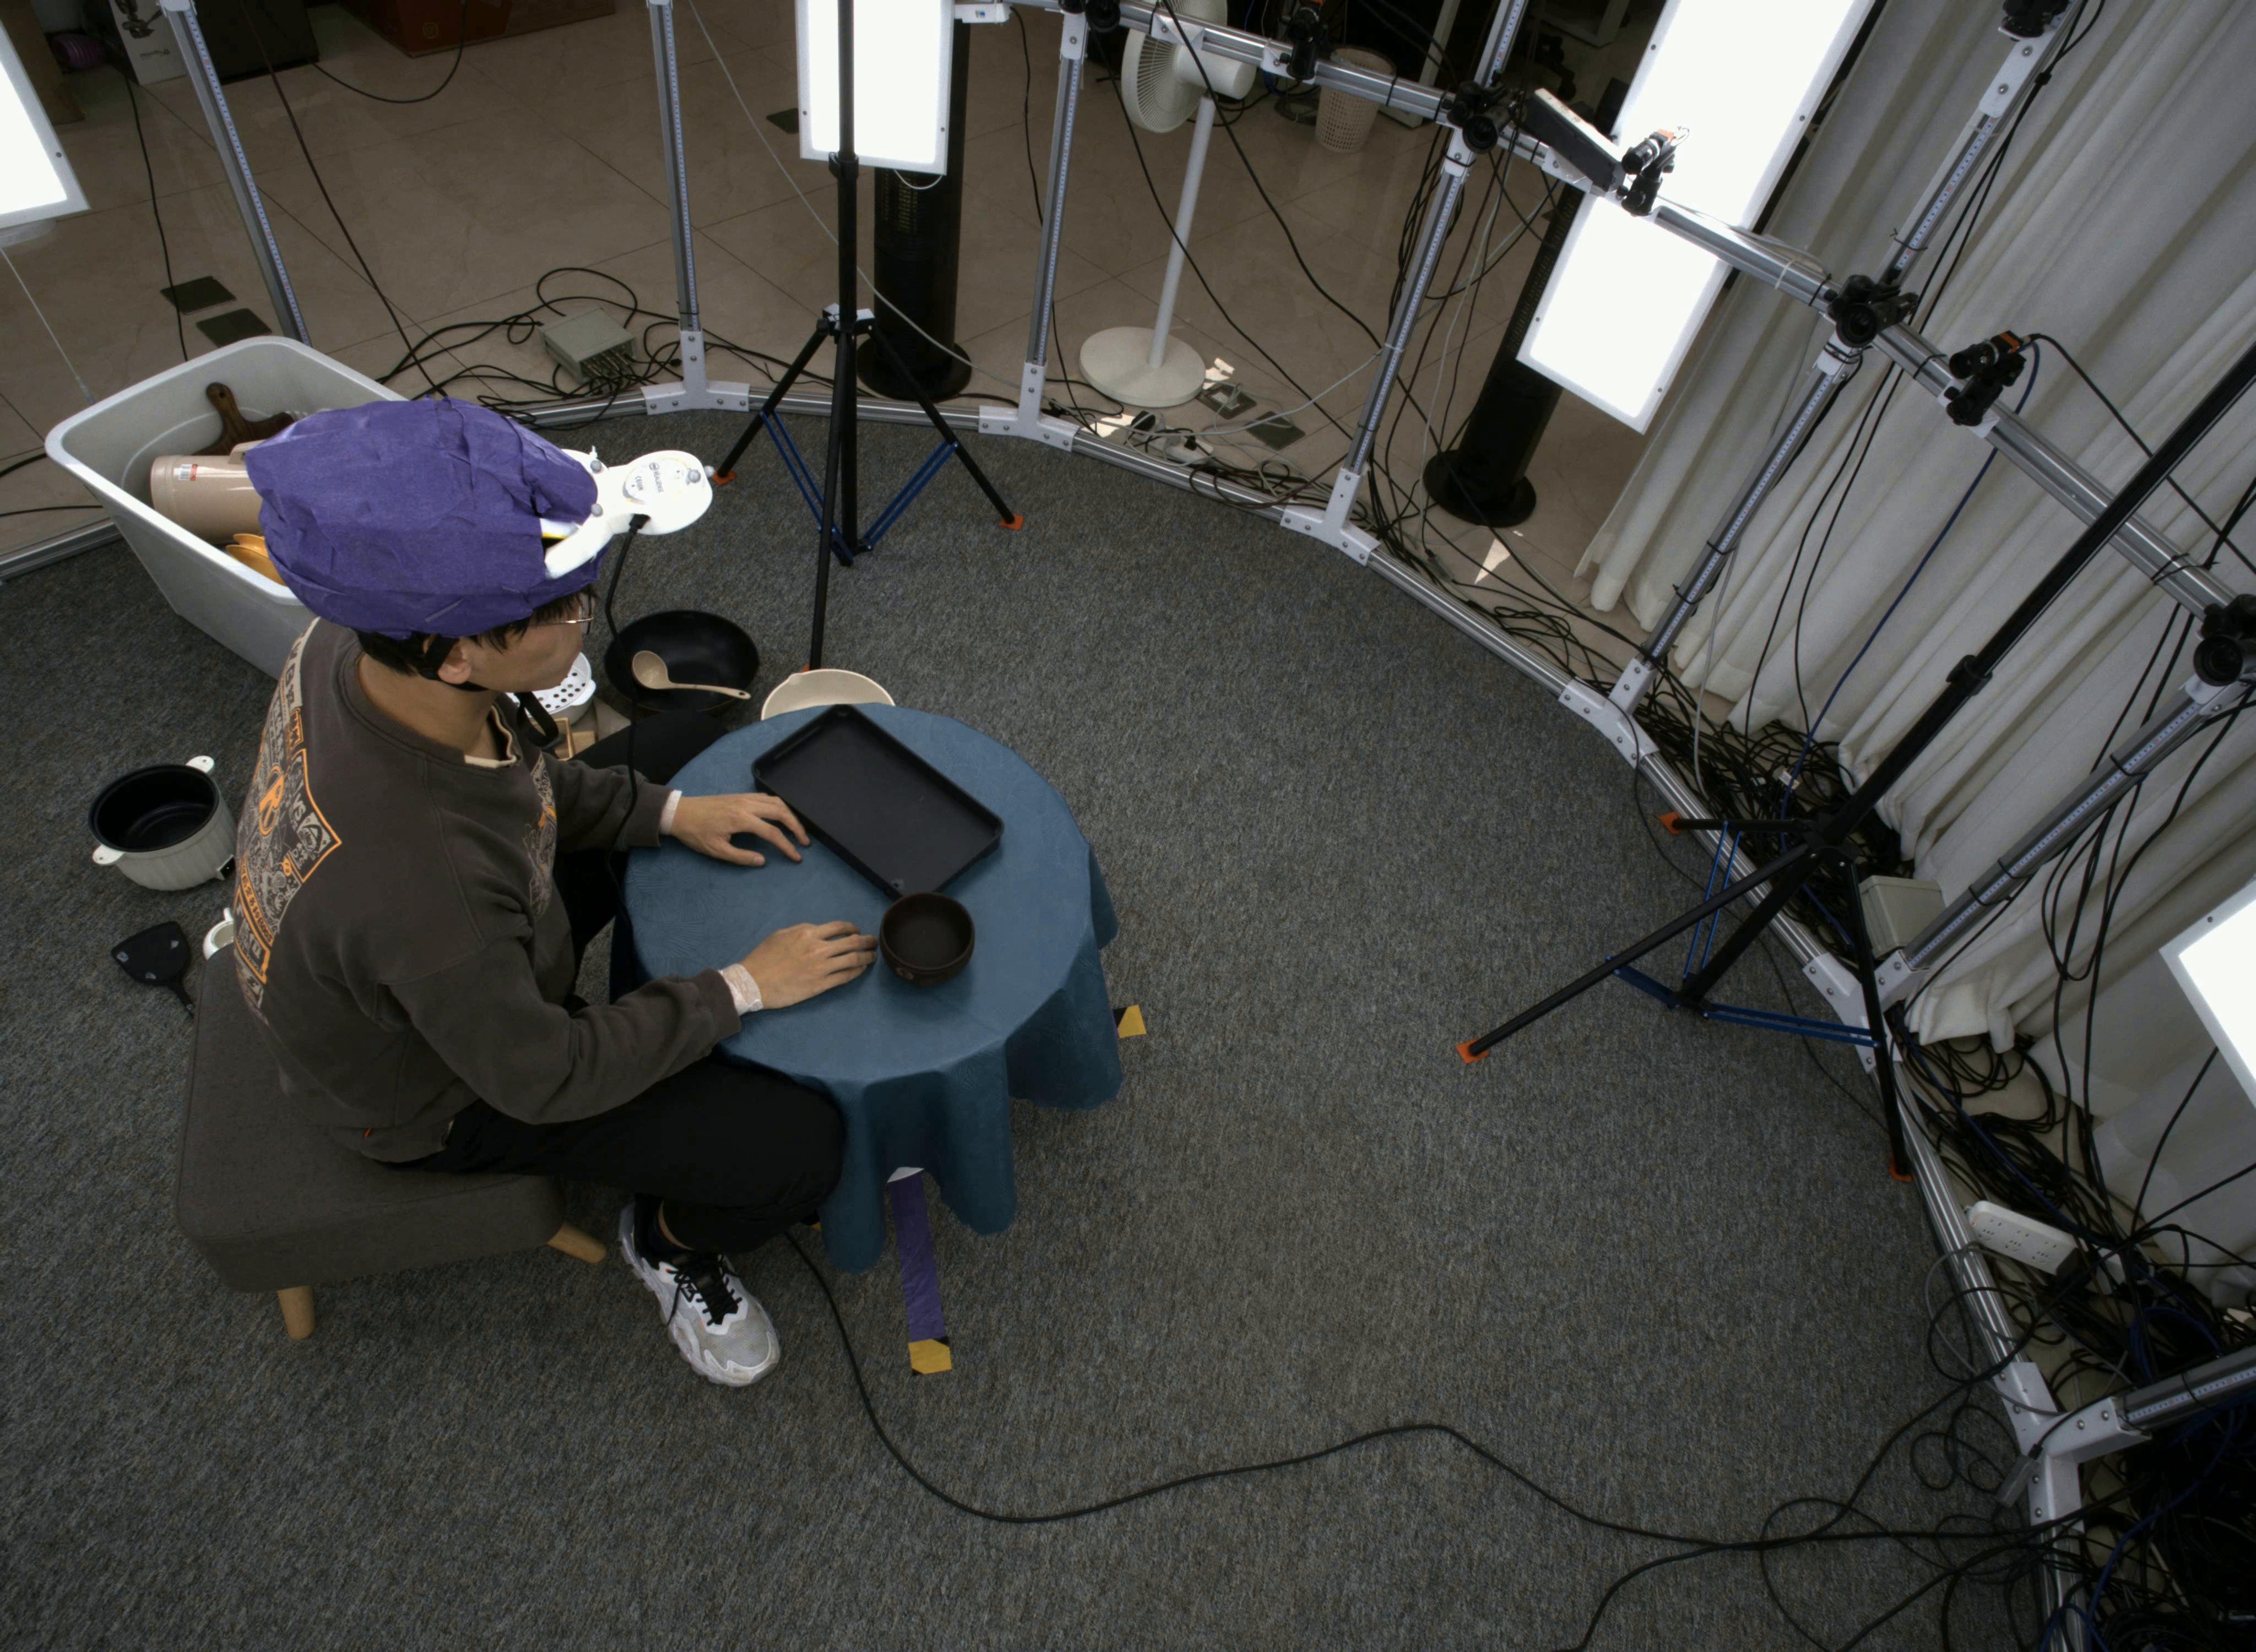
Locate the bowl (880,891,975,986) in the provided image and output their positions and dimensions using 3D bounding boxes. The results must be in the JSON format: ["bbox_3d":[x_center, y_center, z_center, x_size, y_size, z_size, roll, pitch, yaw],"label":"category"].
[{"bbox_3d":[-0.250,0.147,1.627,0.117,0.071,0.116,6,54,-6],"label":"bowl"}]

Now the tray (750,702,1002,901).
[{"bbox_3d":[-0.341,-0.032,1.760,0.312,0.038,0.184,35,55,12],"label":"tray"}]
